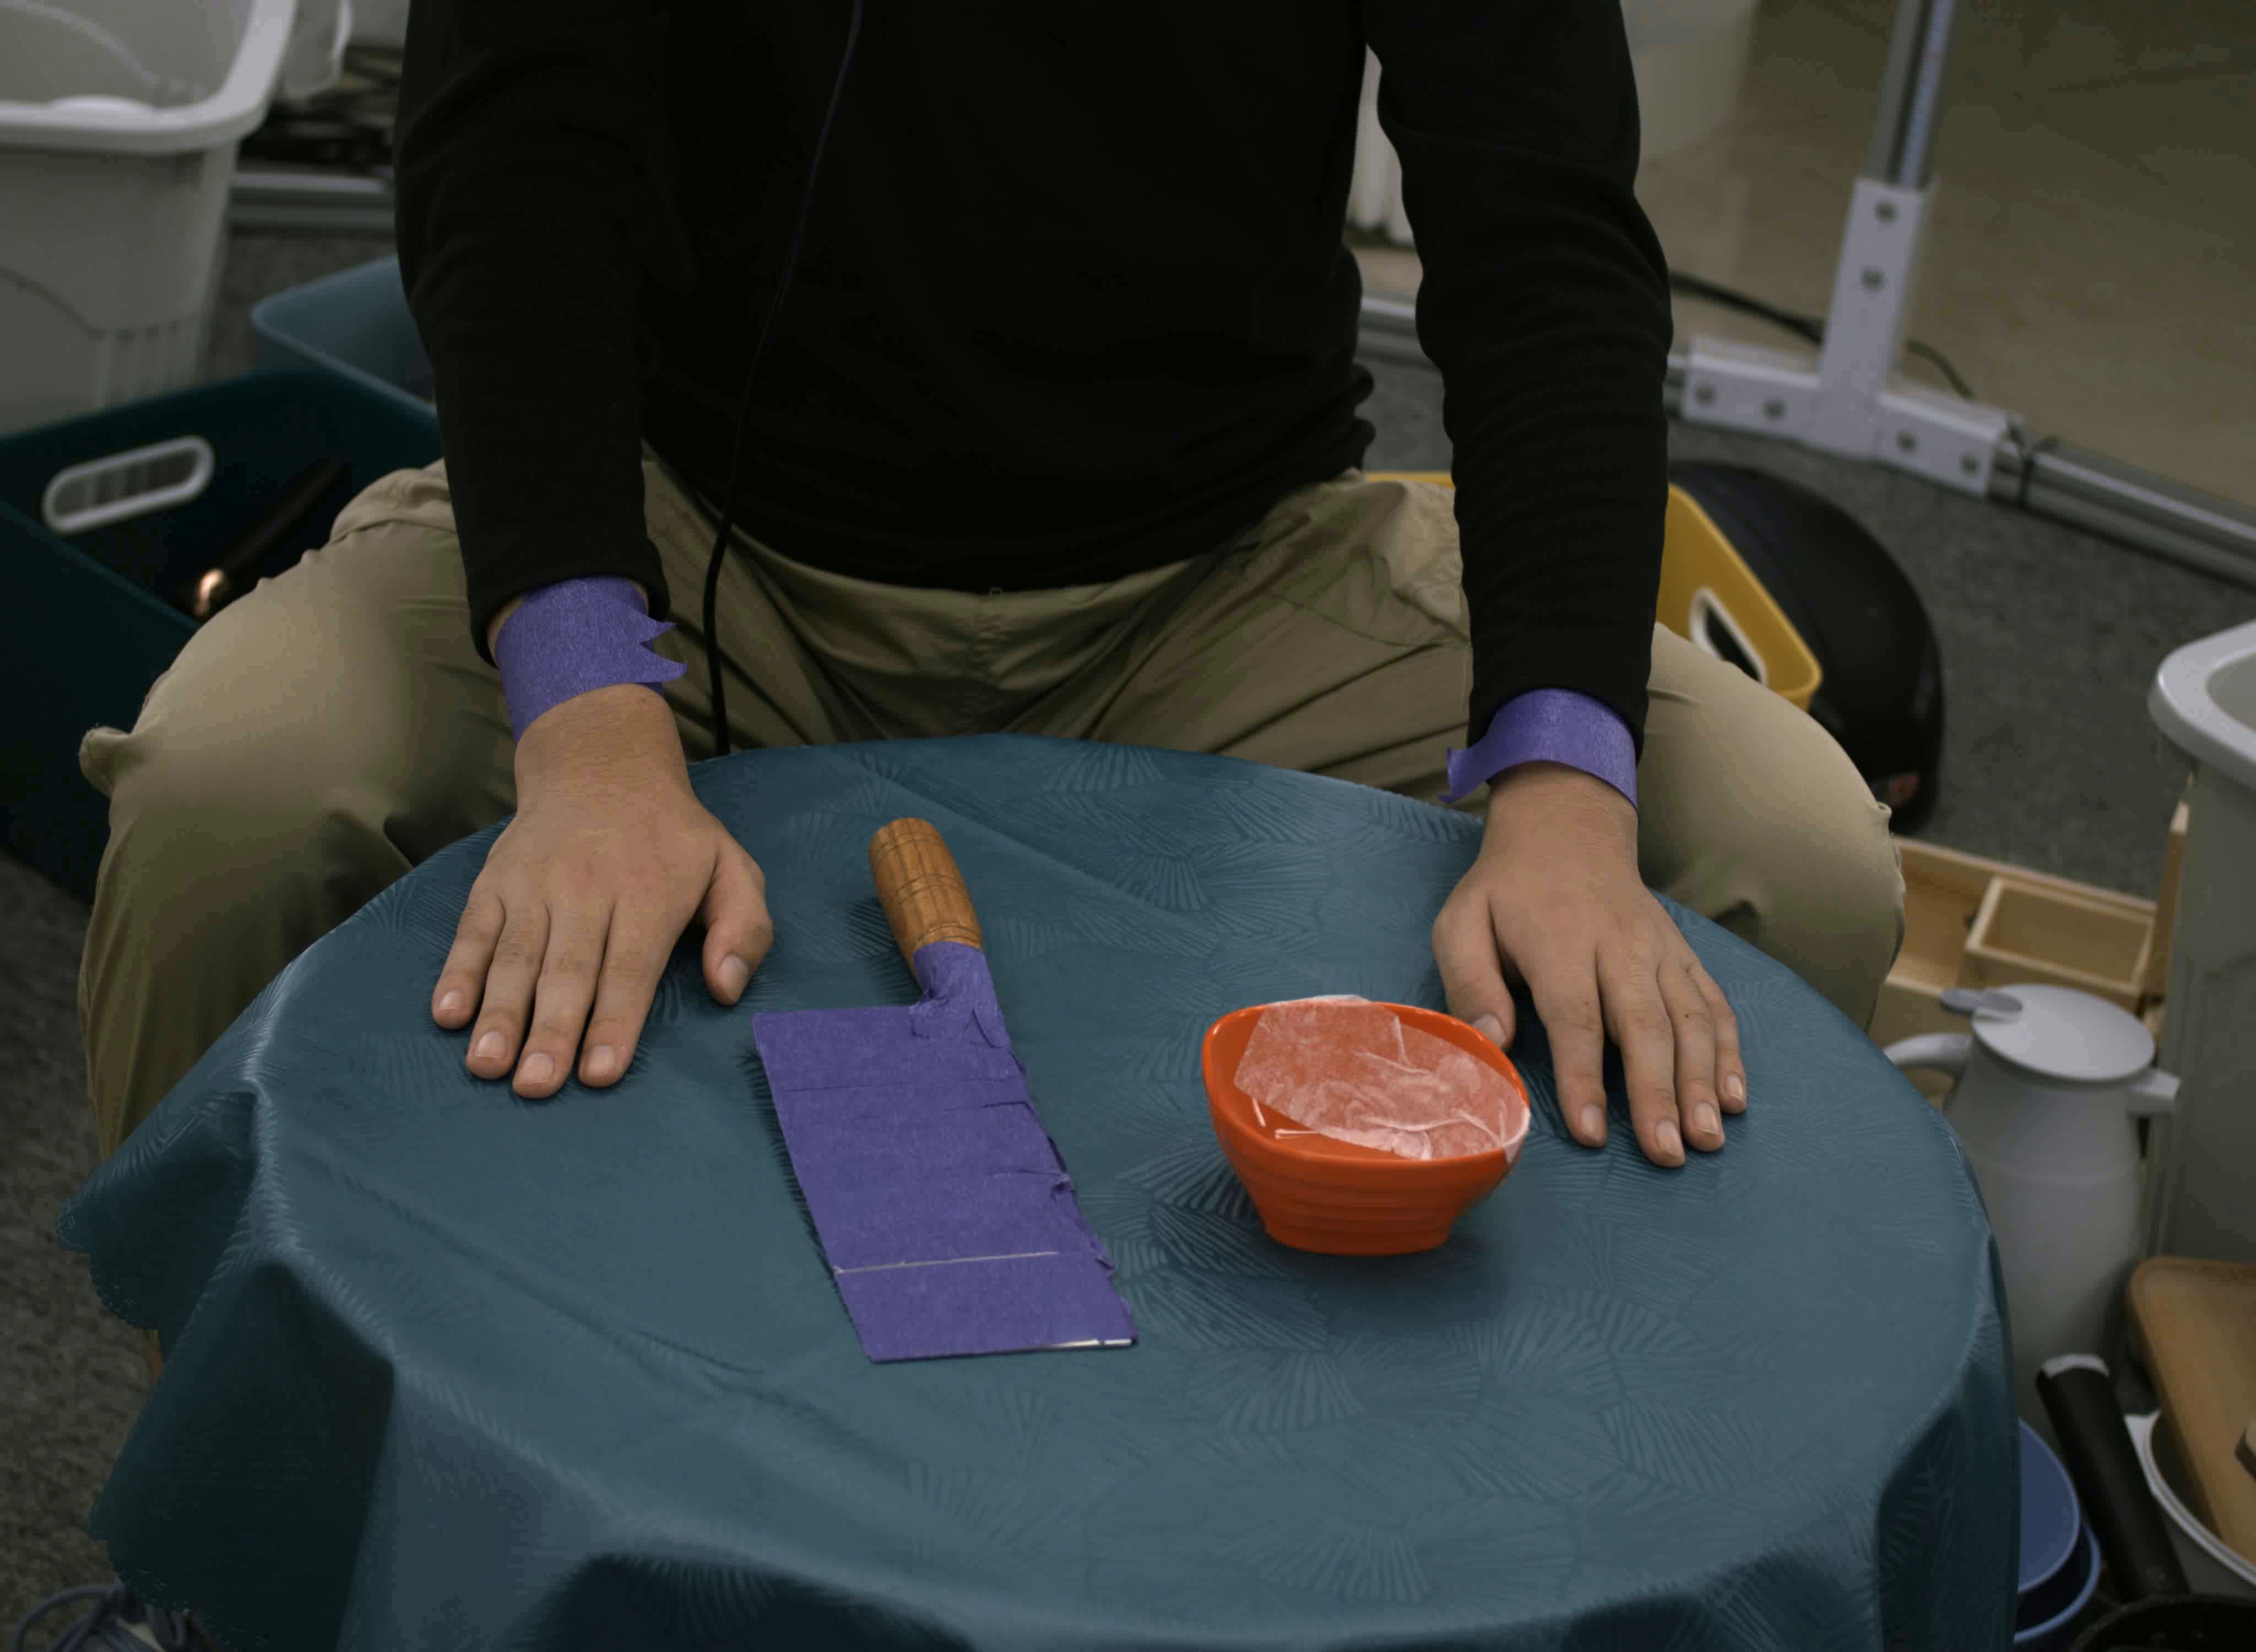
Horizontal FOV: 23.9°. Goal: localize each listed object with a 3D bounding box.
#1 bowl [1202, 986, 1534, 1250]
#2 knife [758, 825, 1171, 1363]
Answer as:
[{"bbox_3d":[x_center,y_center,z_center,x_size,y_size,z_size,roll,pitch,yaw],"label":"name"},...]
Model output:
[{"bbox_3d":[0.078,0.104,1.799,0.118,0.051,0.120,4,30,-3],"label":"bowl"},{"bbox_3d":[-0.074,0.087,1.831,0.103,0.032,0.318,-1,29,-16],"label":"knife"}]
